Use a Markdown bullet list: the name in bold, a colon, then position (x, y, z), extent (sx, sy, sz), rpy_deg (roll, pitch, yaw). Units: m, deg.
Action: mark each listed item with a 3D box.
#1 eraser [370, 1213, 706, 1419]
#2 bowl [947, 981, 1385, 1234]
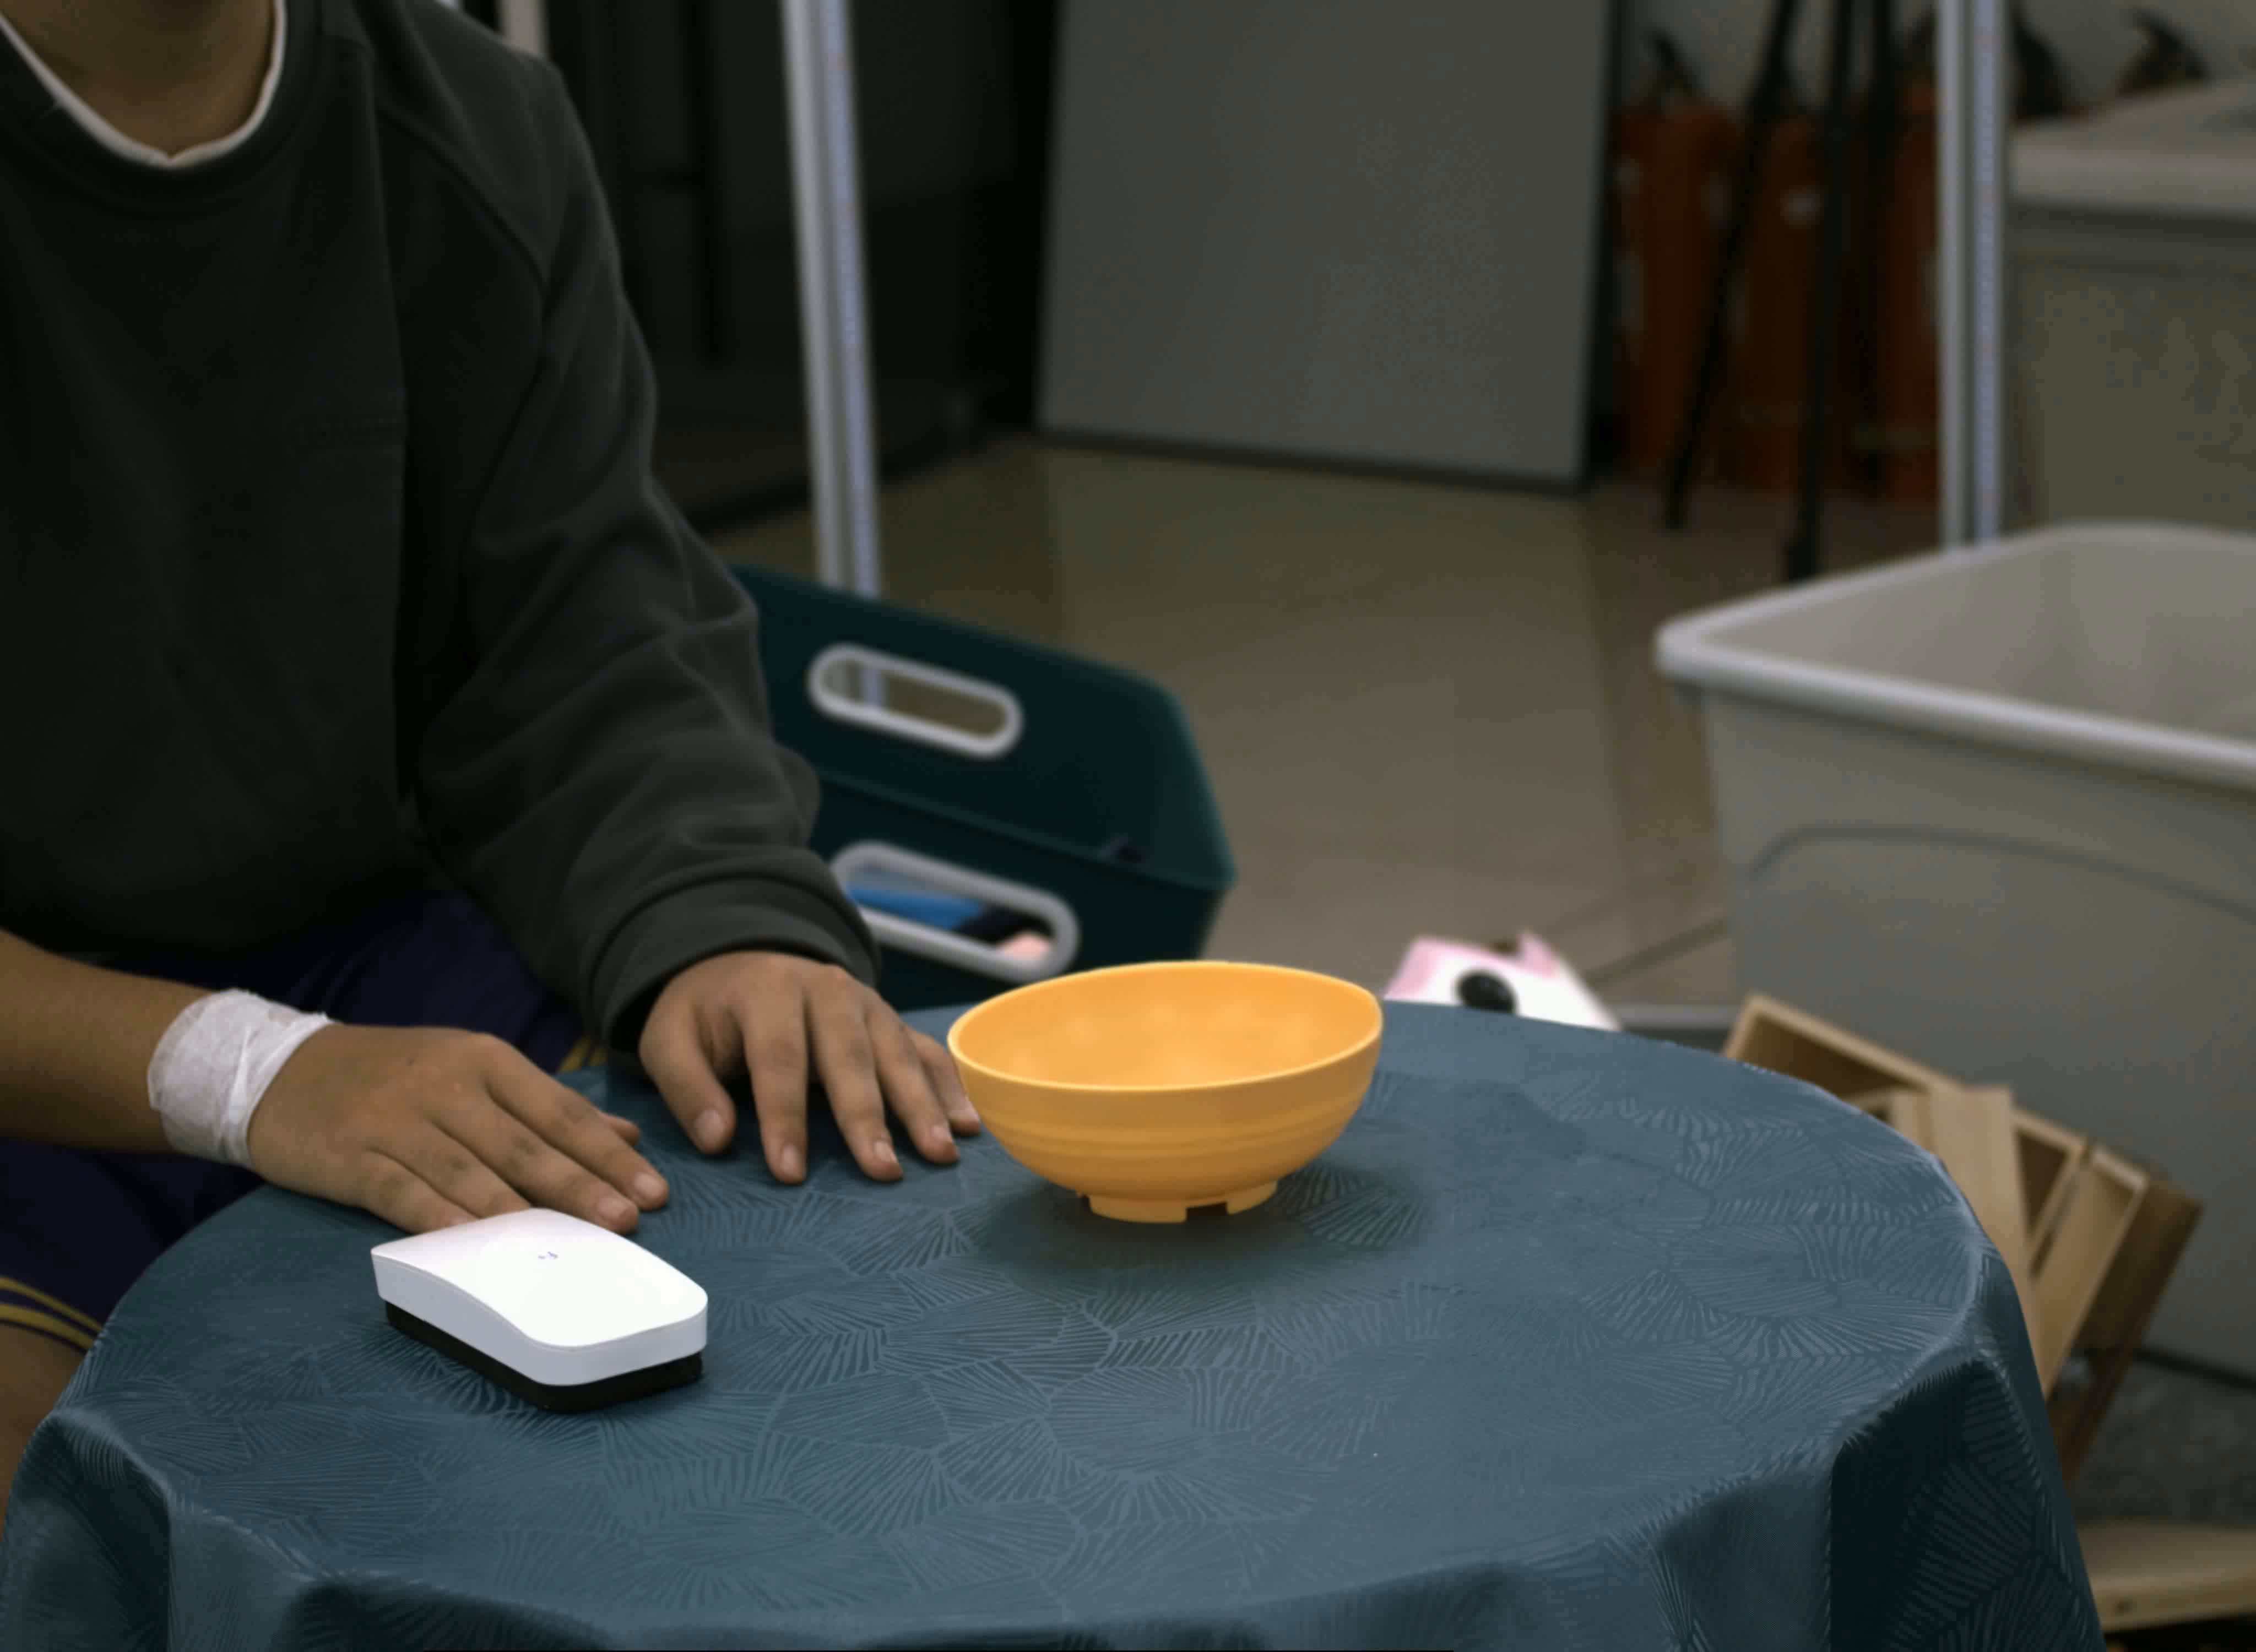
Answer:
- **eraser**: position (-0.180, 0.146, 1.654), extent (0.062, 0.035, 0.133), rpy_deg (-11, 16, -30)
- **bowl**: position (0.014, 0.095, 1.758), extent (0.143, 0.061, 0.145), rpy_deg (-5, 11, 0)
